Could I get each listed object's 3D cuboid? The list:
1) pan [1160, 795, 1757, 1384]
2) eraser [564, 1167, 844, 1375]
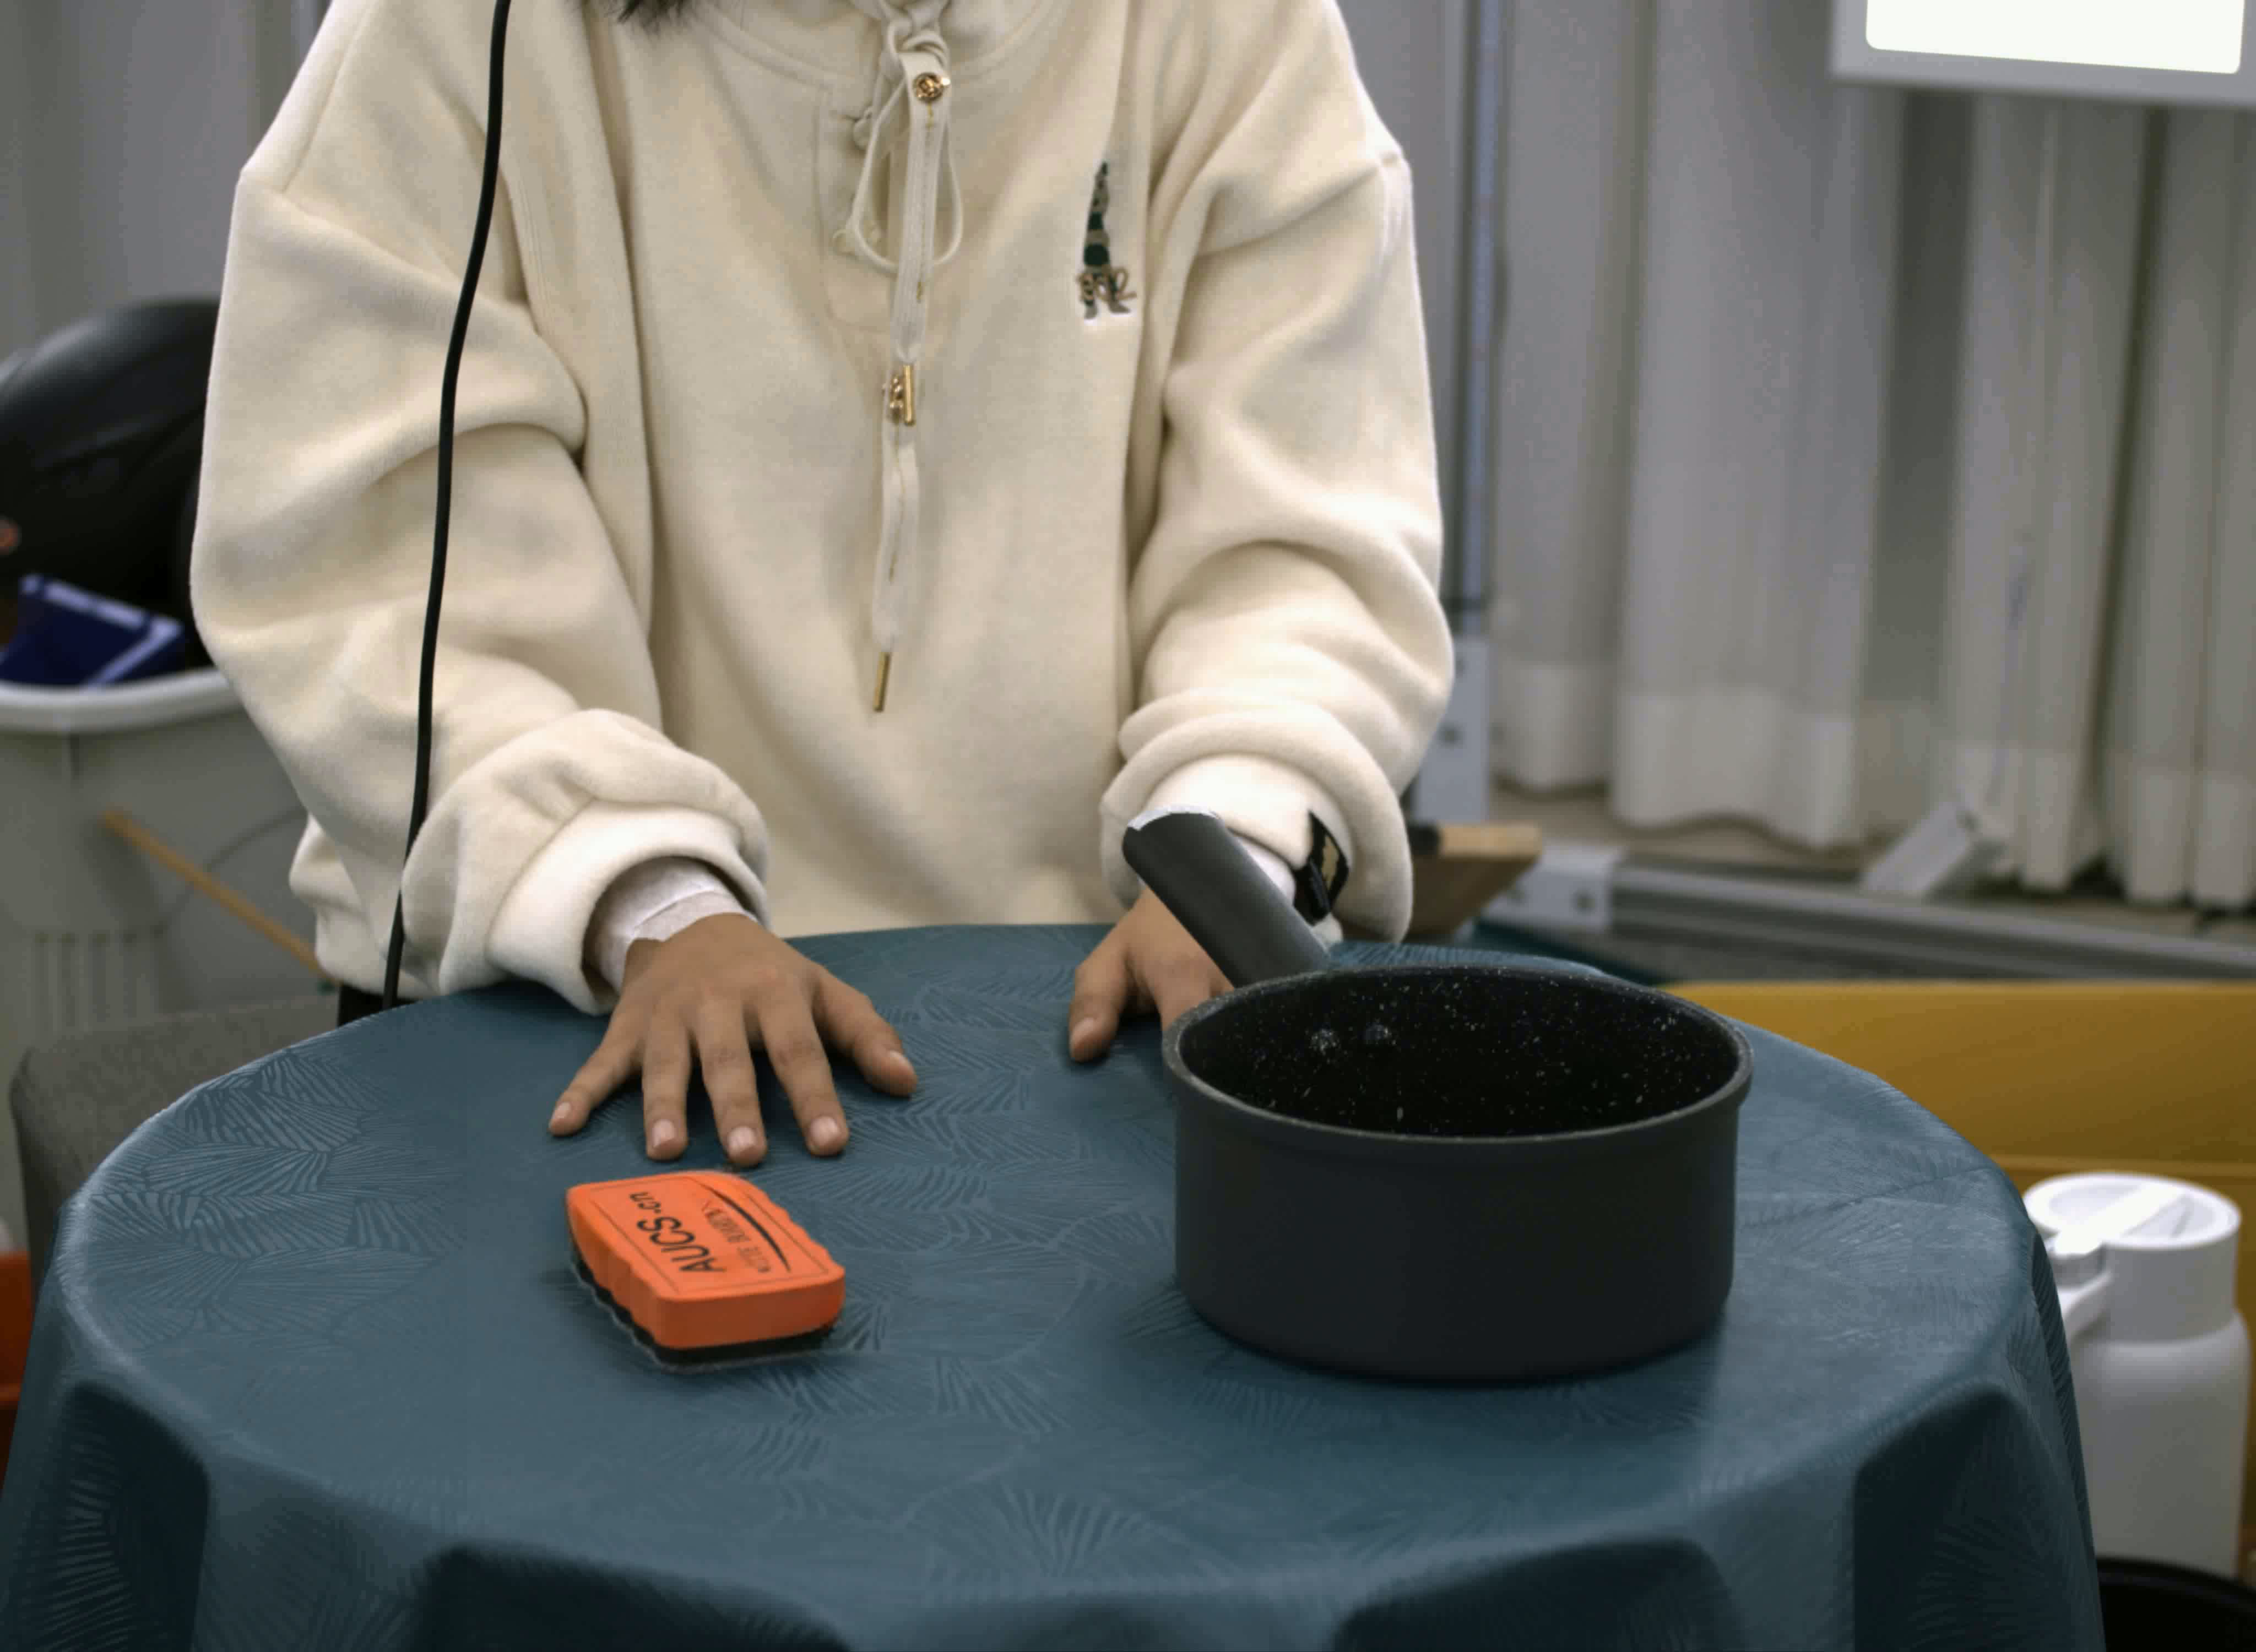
[{"bbox_3d":[0.071,0.075,1.598,0.172,0.087,0.325,-4,17,-17],"label":"pan"},{"bbox_3d":[-0.123,0.127,1.519,0.059,0.023,0.107,-6,17,-21],"label":"eraser"}]
